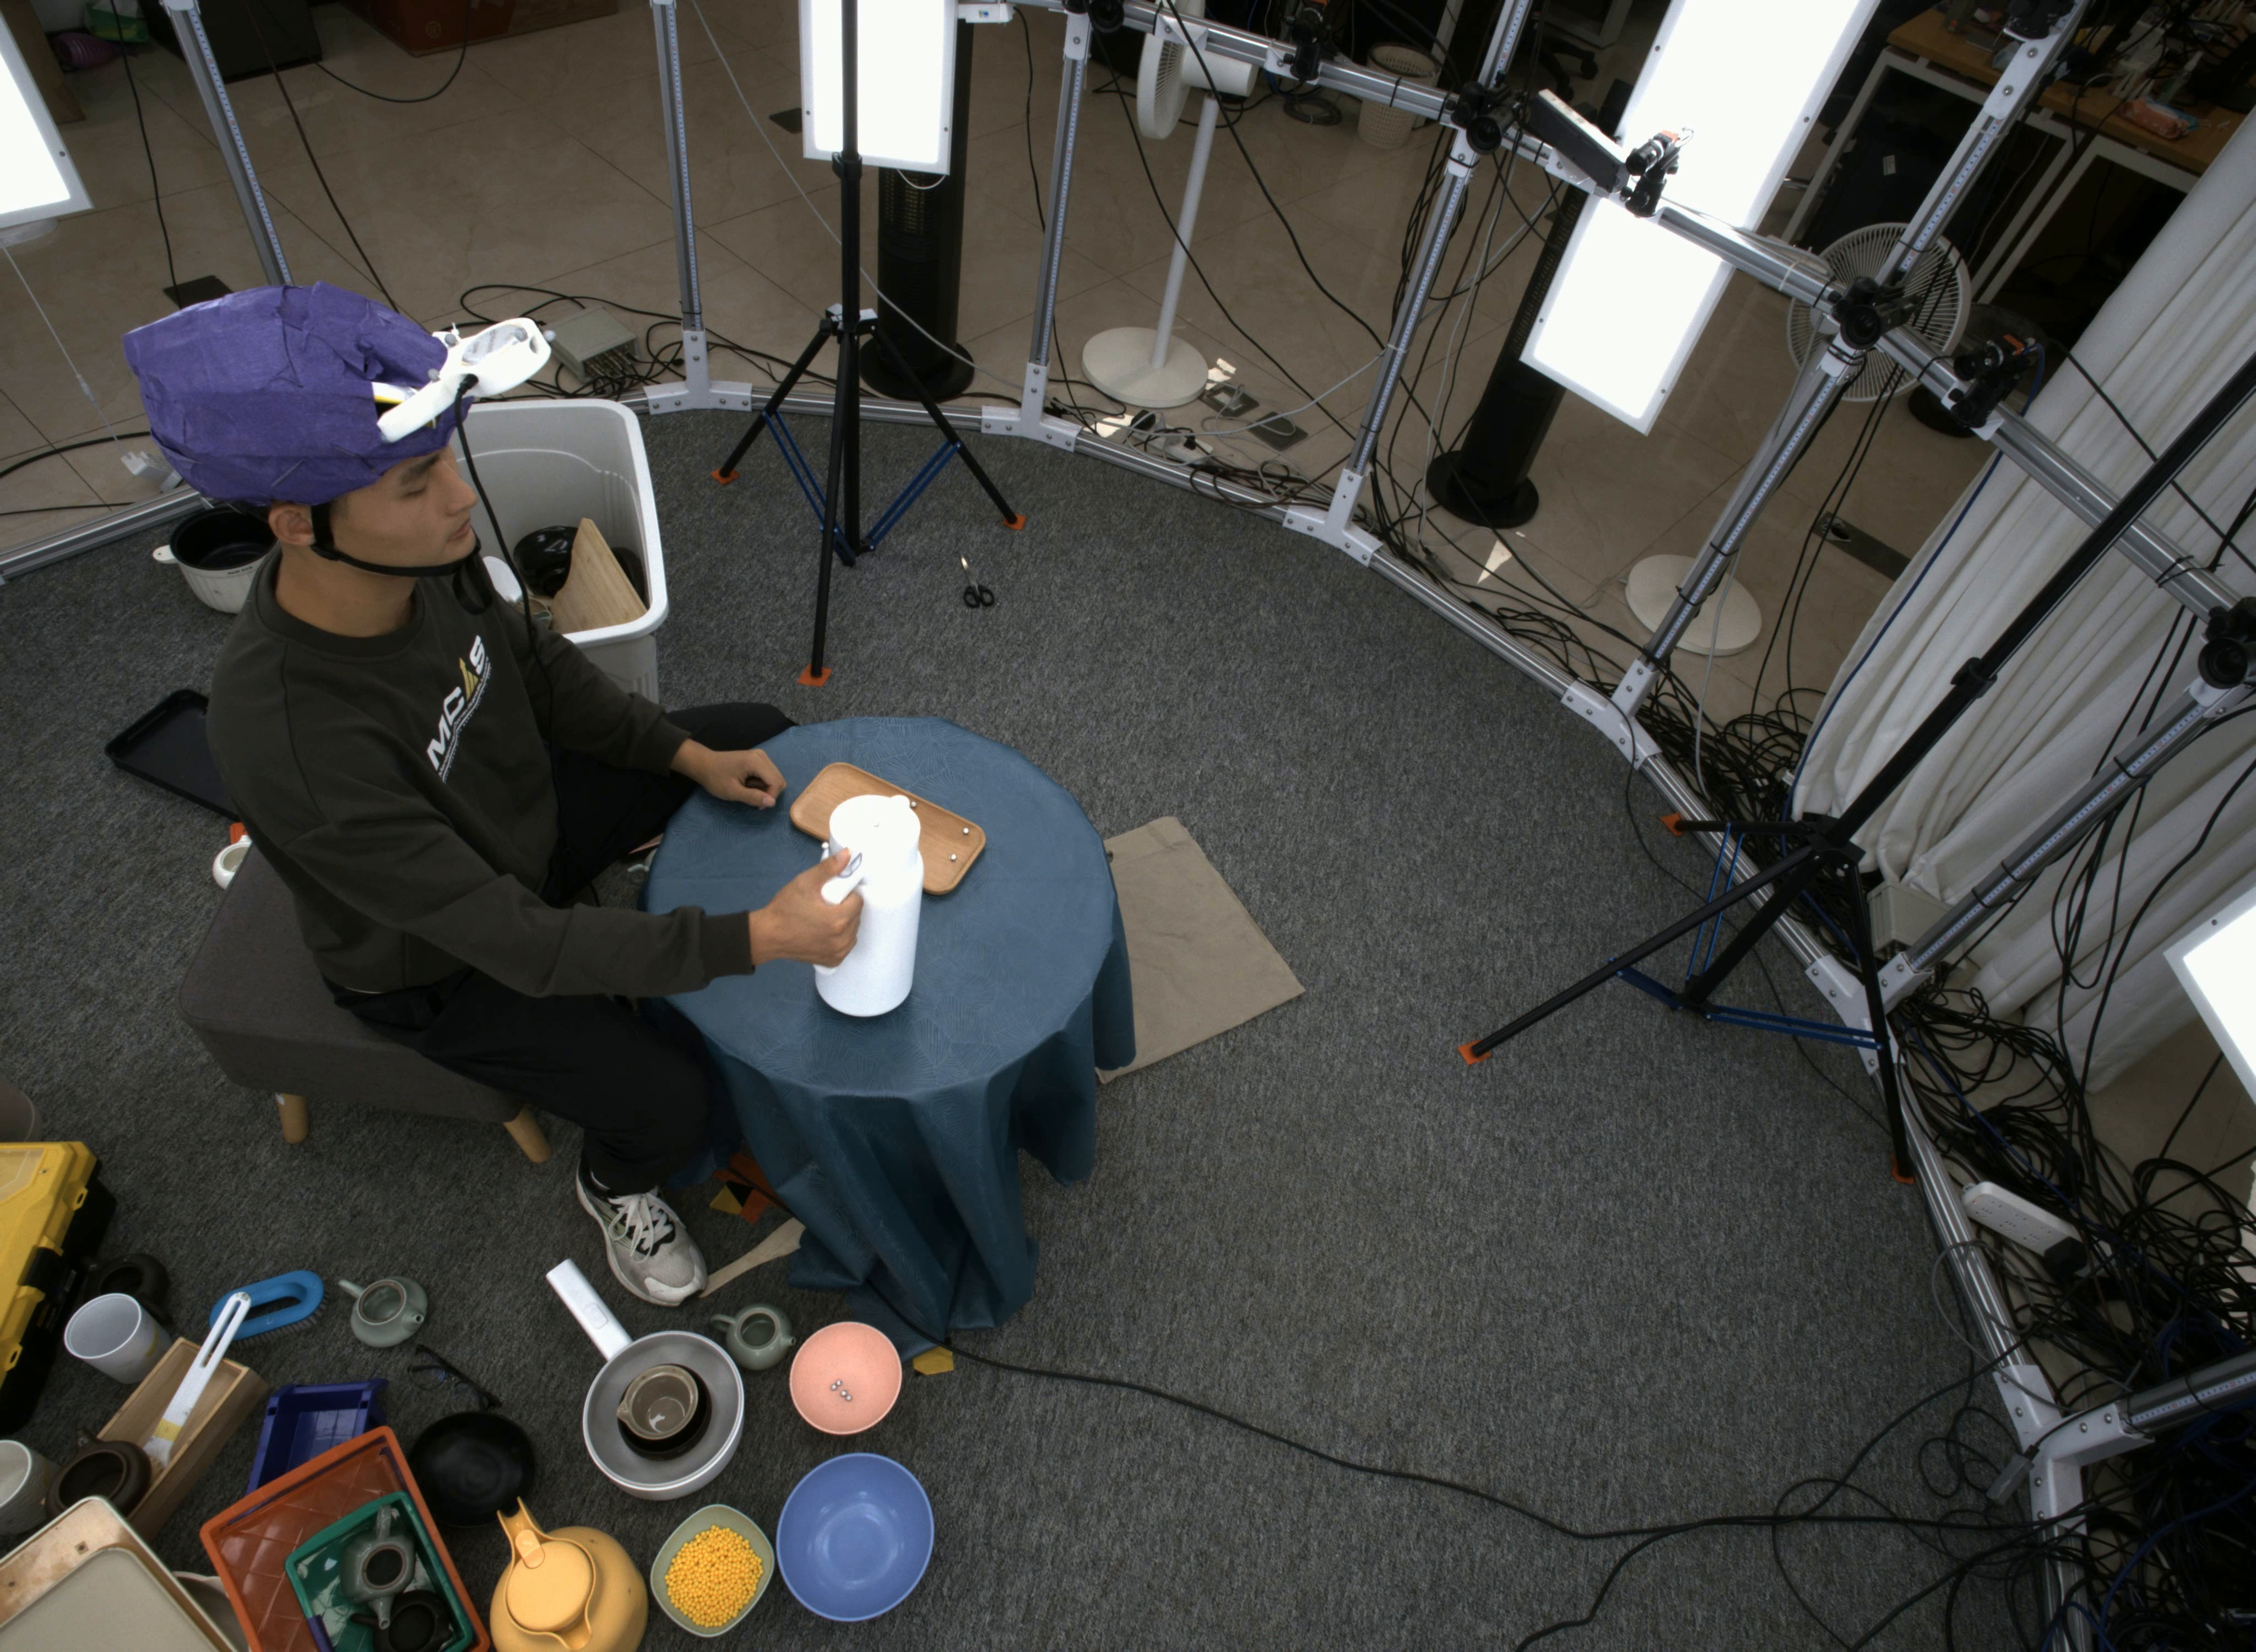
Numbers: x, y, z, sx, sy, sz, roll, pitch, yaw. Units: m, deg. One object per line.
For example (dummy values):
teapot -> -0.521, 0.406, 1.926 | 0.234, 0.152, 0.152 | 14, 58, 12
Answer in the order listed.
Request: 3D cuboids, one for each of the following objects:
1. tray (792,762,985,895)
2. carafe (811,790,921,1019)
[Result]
tray -> -0.321, 0.002, 1.749 | 0.246, 0.023, 0.130 | 26, 50, 8
carafe -> -0.307, 0.106, 1.499 | 0.122, 0.275, 0.171 | 22, 43, 8
